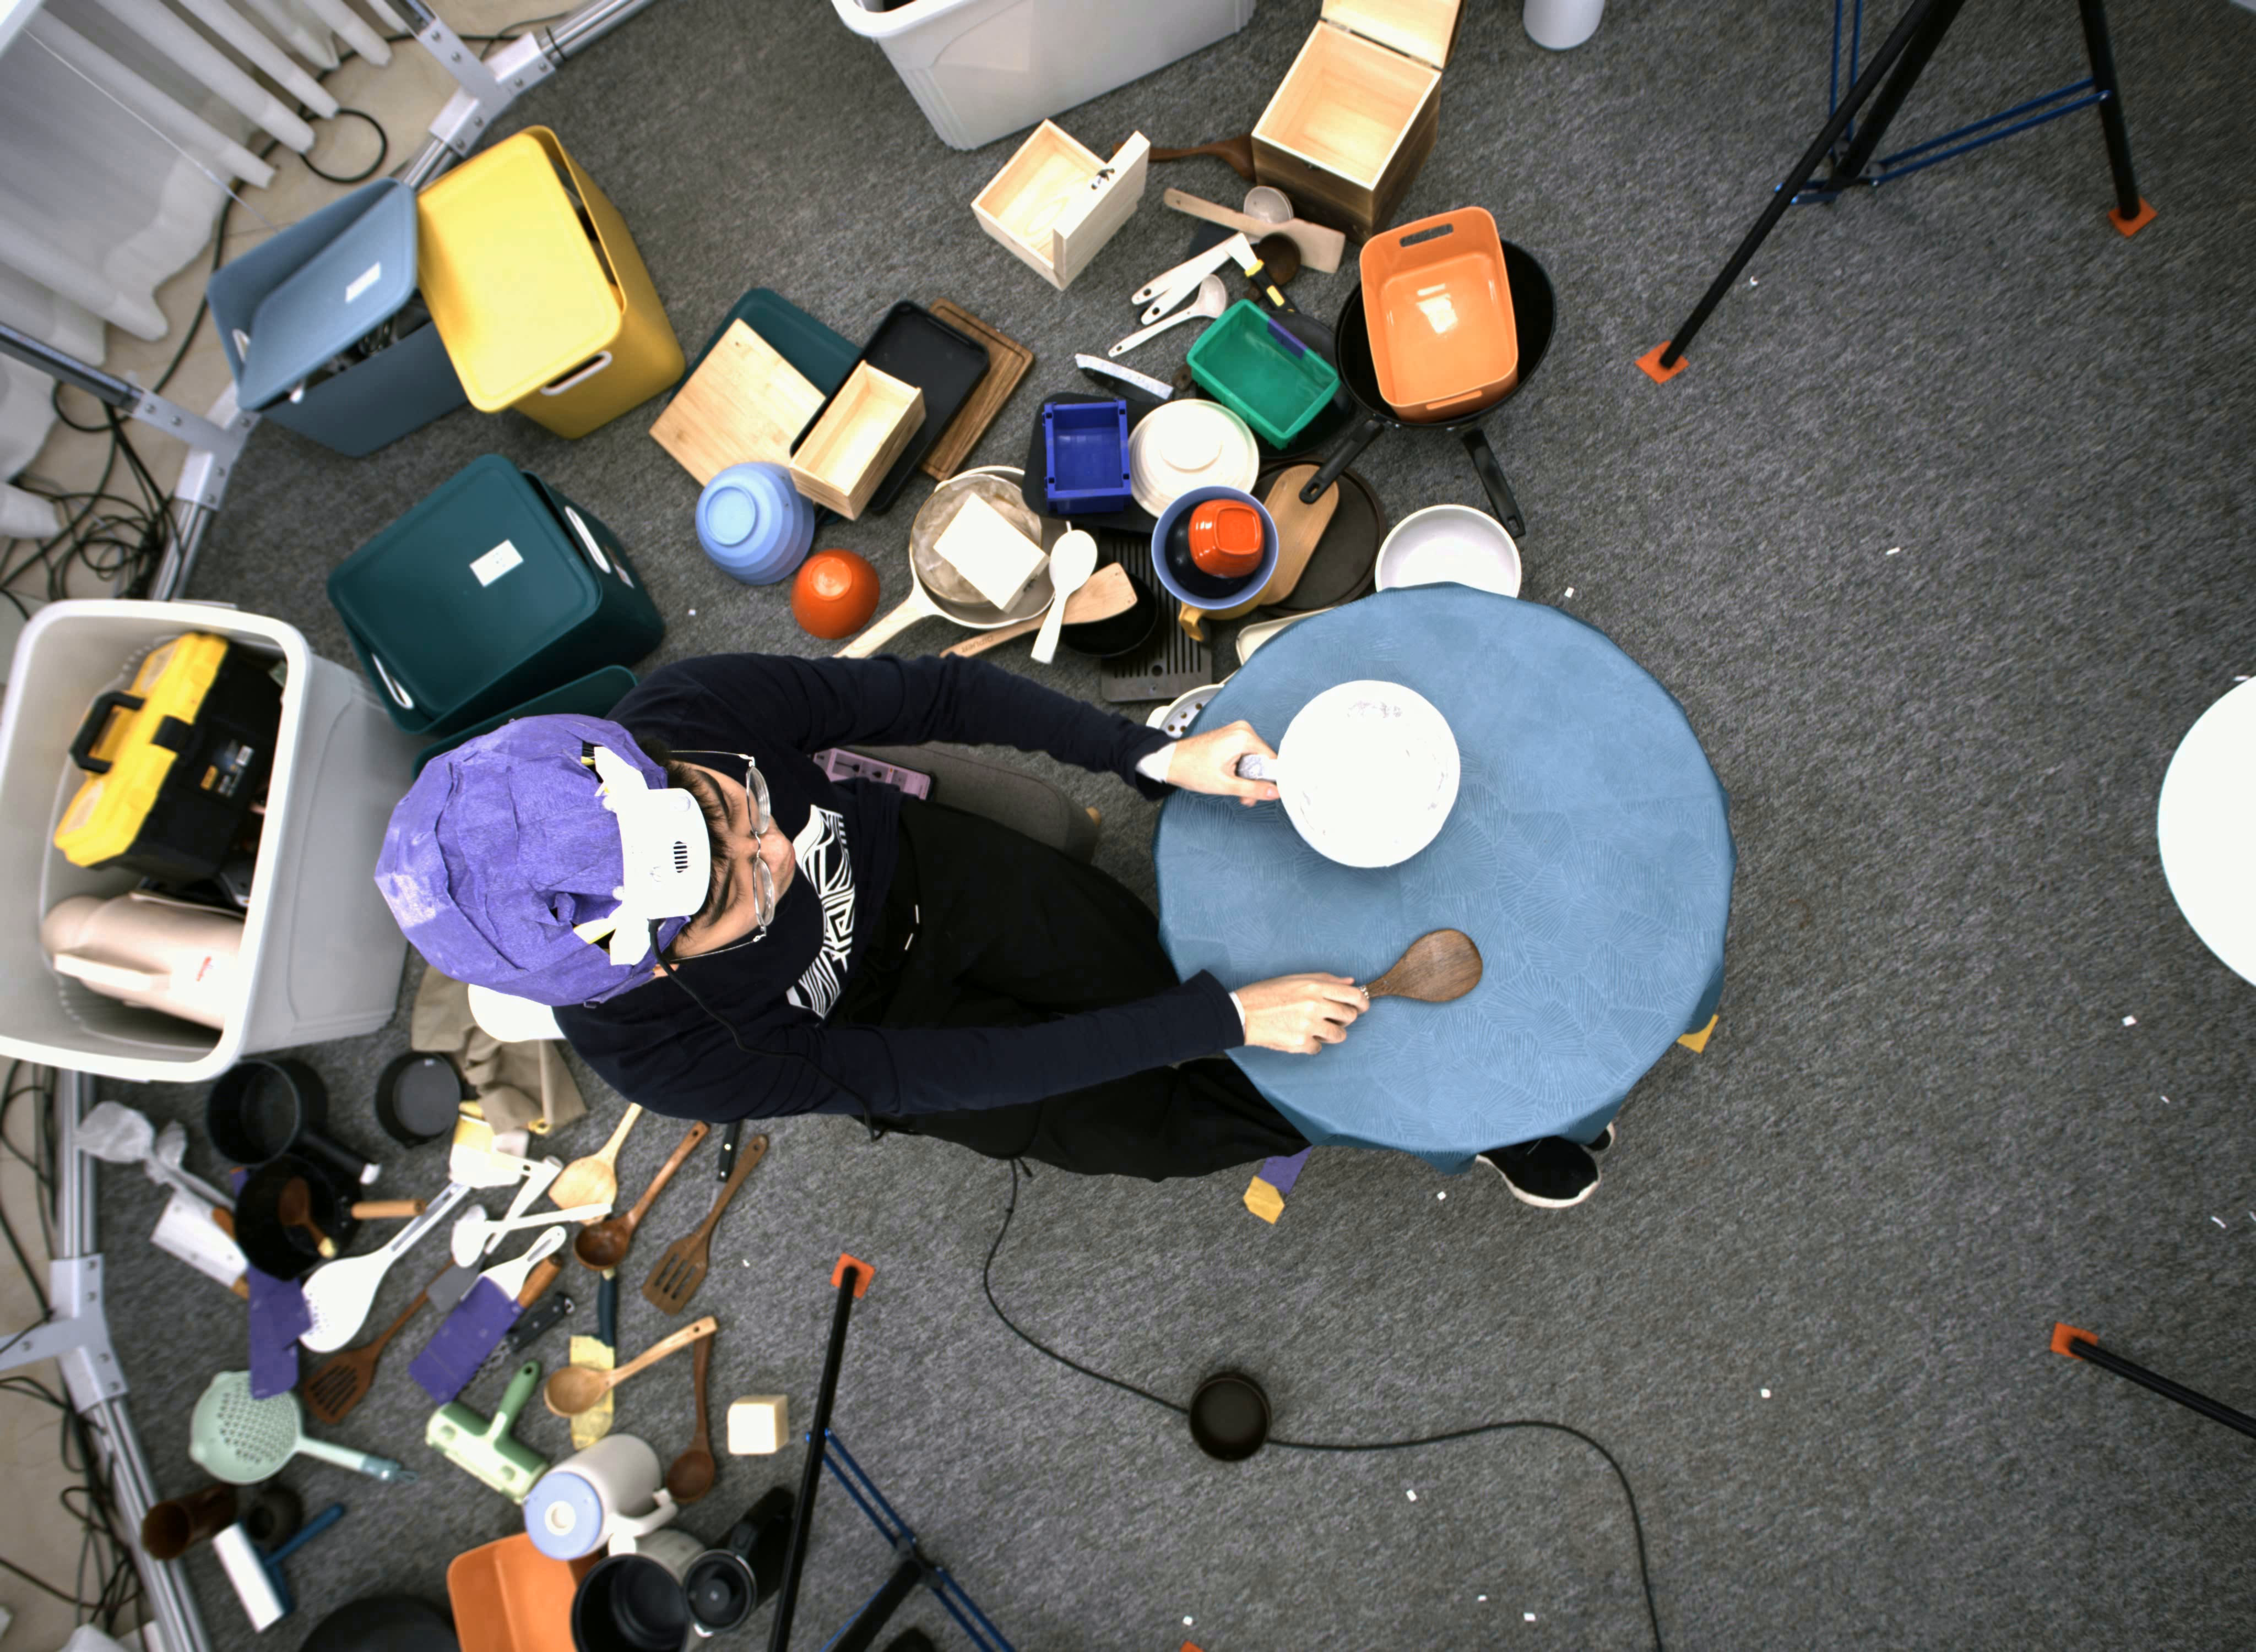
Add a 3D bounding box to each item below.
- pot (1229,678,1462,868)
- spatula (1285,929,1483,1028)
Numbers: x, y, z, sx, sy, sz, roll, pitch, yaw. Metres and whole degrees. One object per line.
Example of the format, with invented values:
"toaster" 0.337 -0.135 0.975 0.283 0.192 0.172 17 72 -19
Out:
"pot" 0.217 -0.051 1.406 0.234 0.137 0.177 1 83 9
"spatula" 0.265 0.166 1.448 0.217 0.009 0.071 -20 78 7
